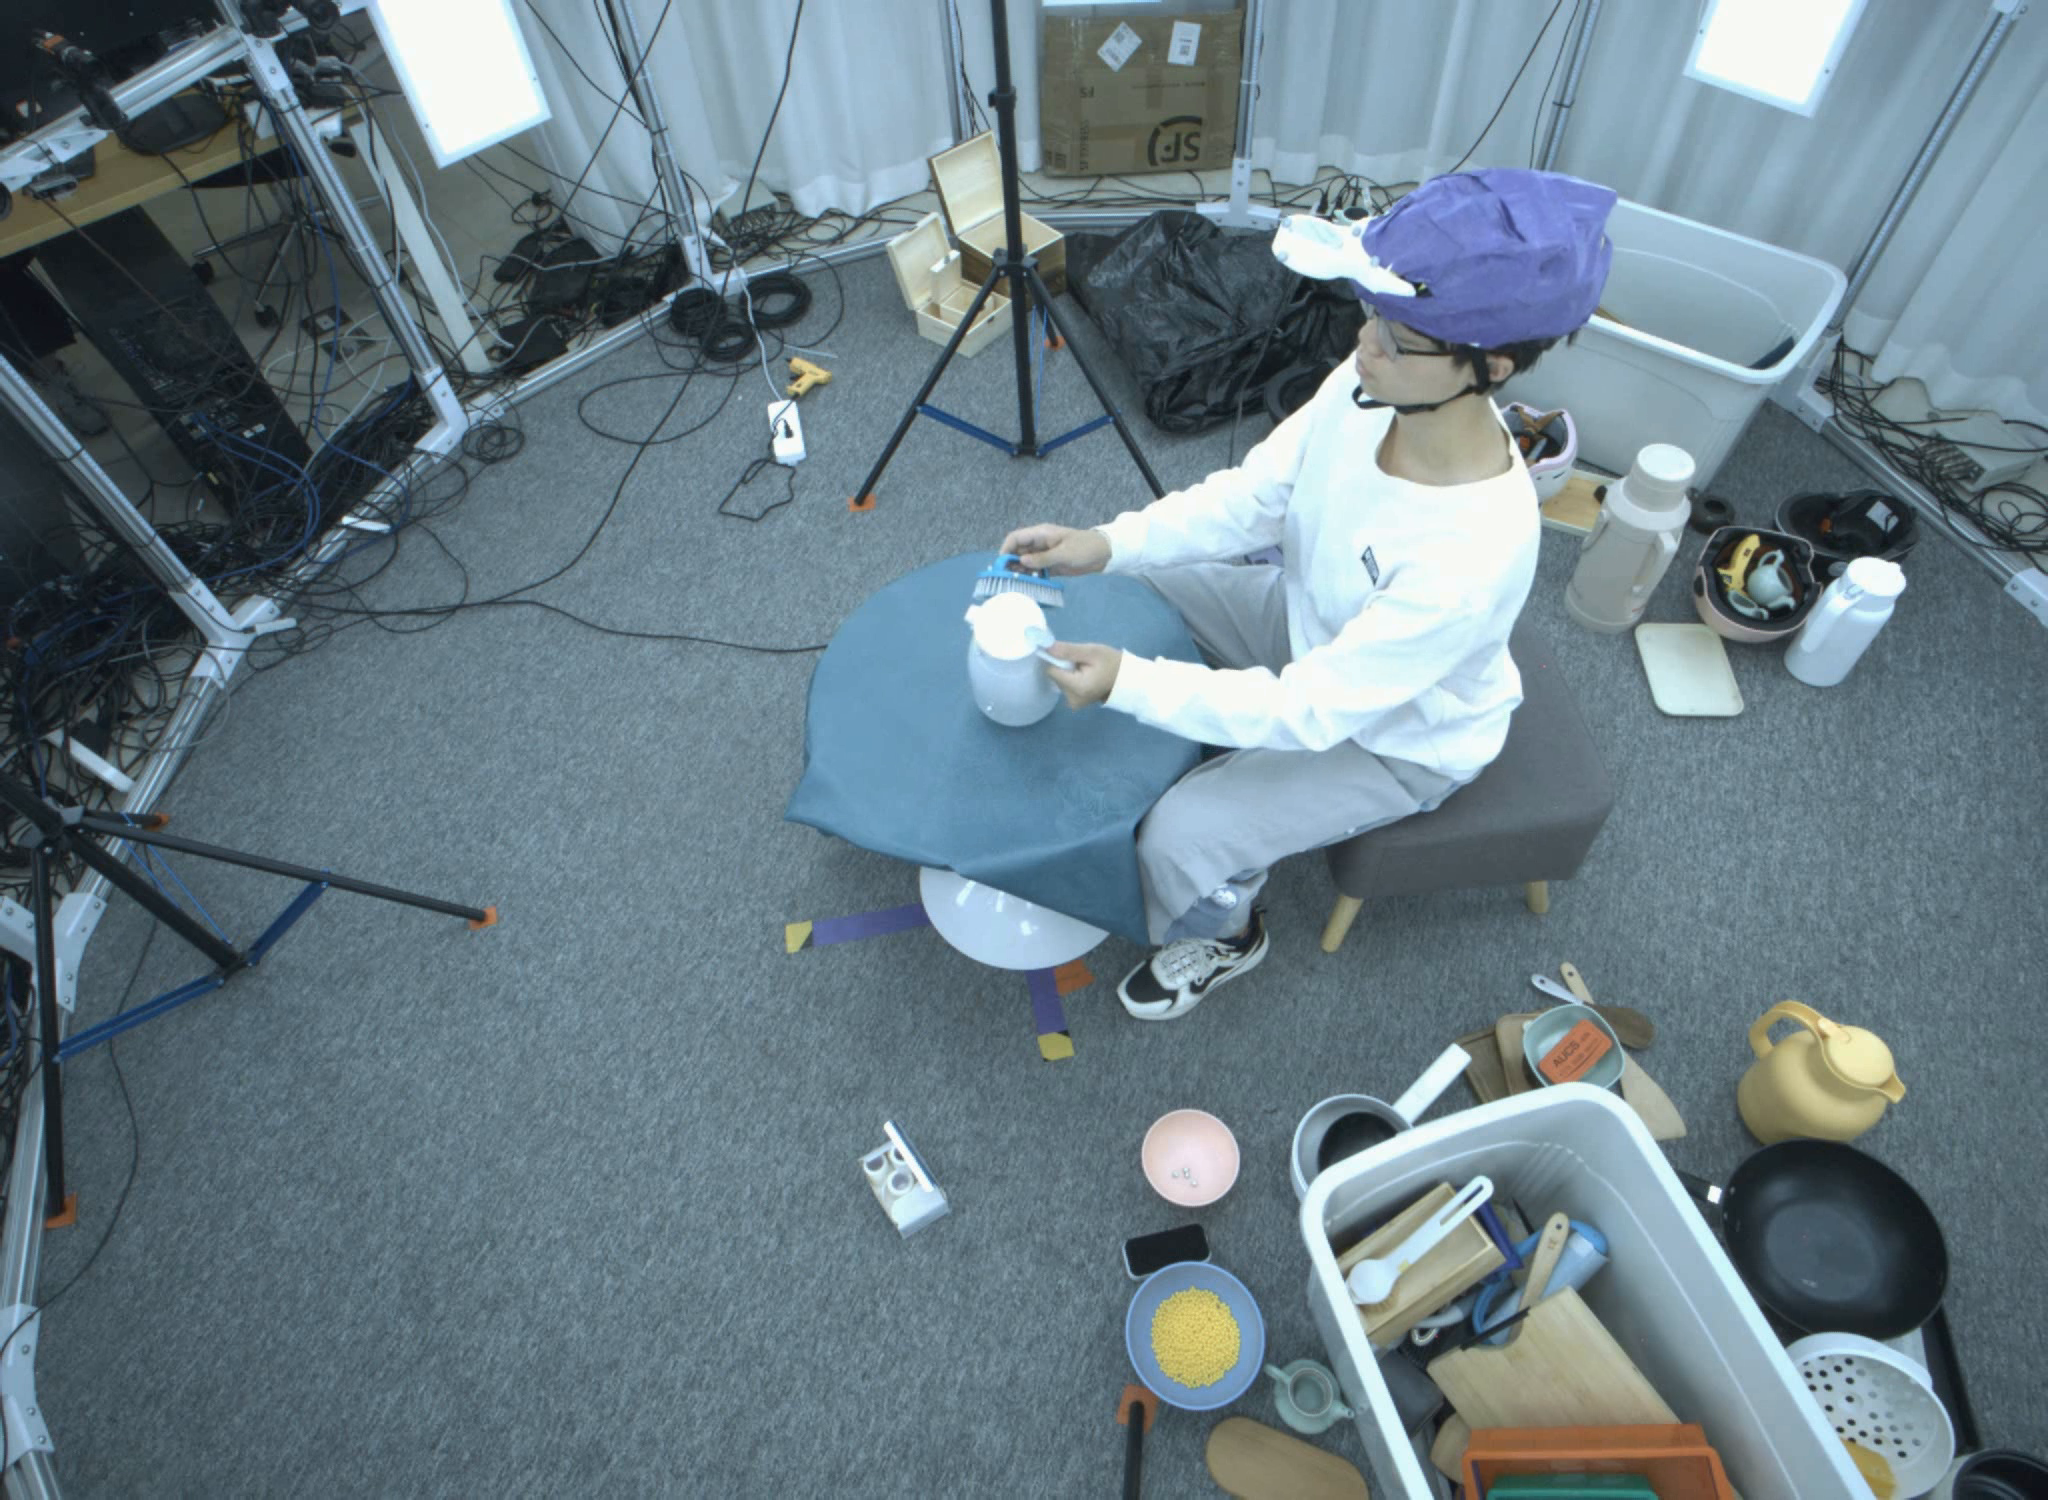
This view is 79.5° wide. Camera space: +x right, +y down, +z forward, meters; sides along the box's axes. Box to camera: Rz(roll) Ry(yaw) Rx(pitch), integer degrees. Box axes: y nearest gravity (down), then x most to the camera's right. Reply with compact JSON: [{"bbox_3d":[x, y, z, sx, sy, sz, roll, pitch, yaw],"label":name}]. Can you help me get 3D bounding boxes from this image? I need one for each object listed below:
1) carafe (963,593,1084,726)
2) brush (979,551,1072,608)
[{"bbox_3d":[0.002,-0.123,1.672,0.167,0.250,0.132,23,77,6],"label":"carafe"},{"bbox_3d":[0.001,-0.237,1.683,0.145,0.082,0.063,6,84,-38],"label":"brush"}]
